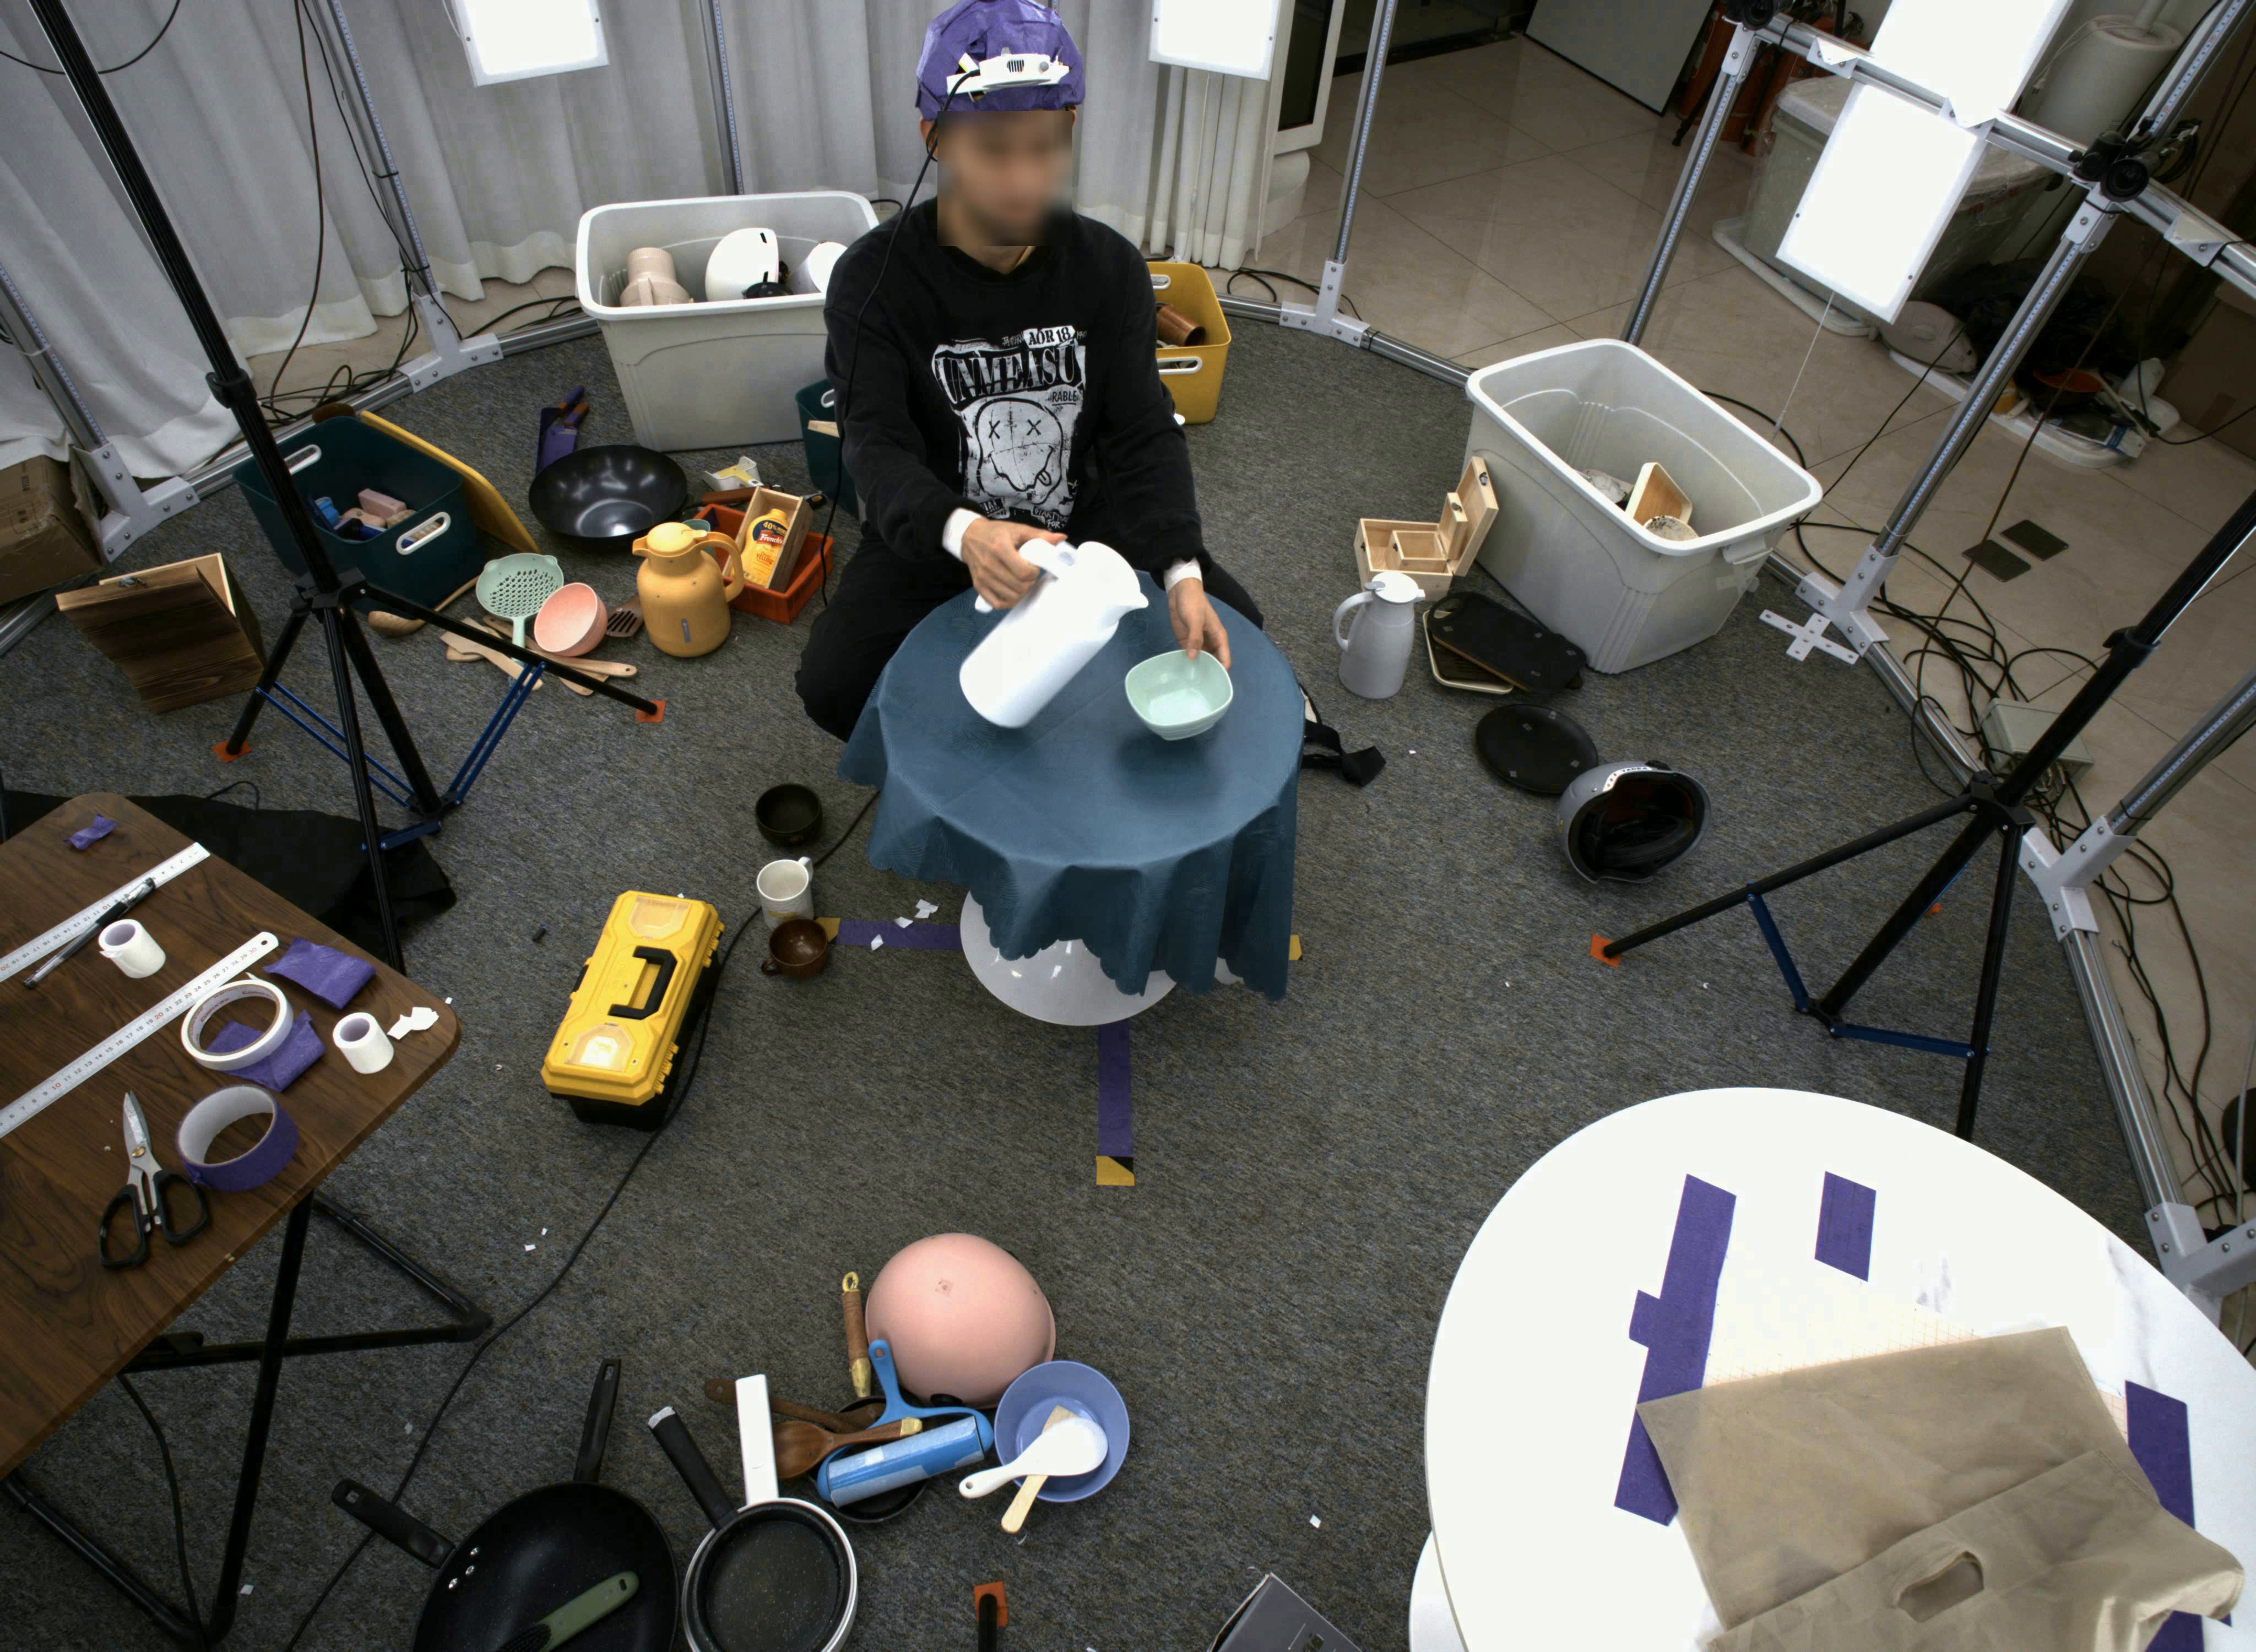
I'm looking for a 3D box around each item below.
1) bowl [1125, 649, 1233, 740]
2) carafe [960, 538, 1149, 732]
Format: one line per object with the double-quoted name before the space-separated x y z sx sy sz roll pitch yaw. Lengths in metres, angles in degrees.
"bowl" 0.070 -0.169 1.736 0.151 0.057 0.155 -4 49 4
"carafe" -0.117 -0.246 1.643 0.171 0.265 0.127 26 45 -25
